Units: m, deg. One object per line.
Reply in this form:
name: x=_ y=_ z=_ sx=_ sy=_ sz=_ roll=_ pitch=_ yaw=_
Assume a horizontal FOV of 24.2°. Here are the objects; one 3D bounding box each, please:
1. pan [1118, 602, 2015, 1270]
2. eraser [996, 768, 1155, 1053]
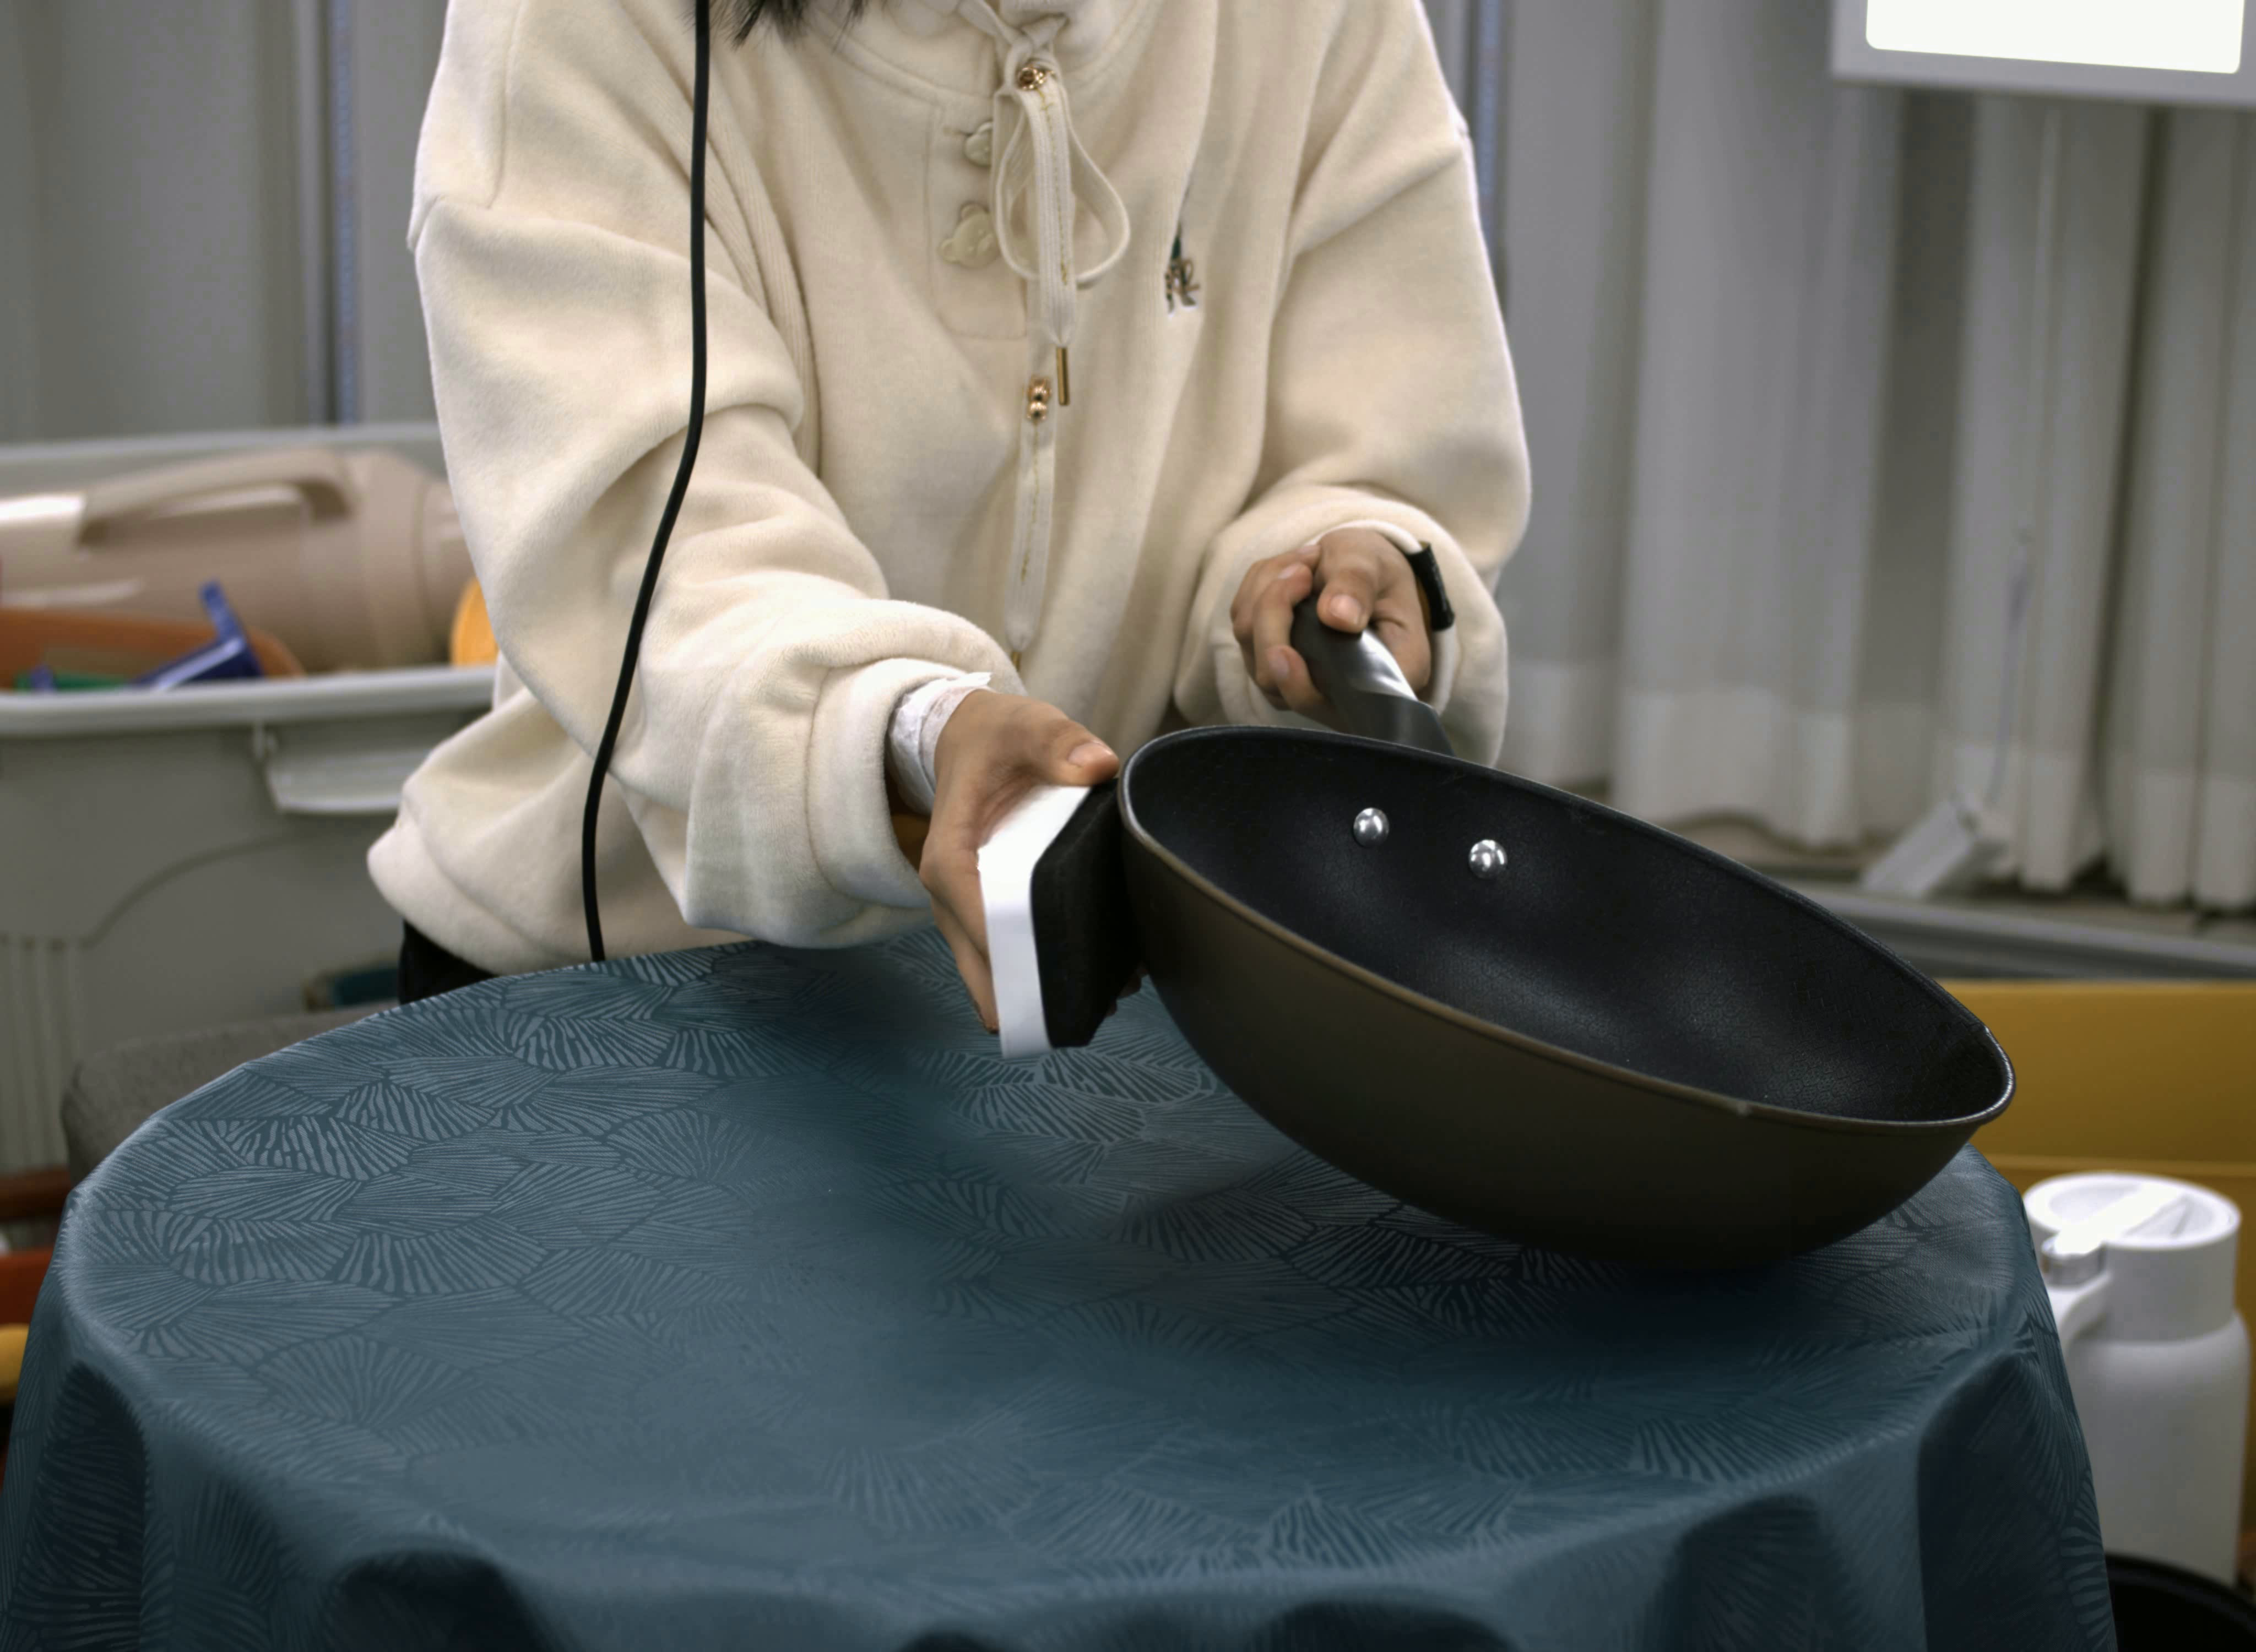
pan: x=0.100 y=0.030 z=1.658 sx=0.289 sy=0.087 sz=0.458 roll=15 pitch=16 yaw=-18
eraser: x=-0.018 y=0.022 z=1.548 sx=0.034 sy=0.064 sz=0.131 roll=-1 pitch=14 yaw=10
